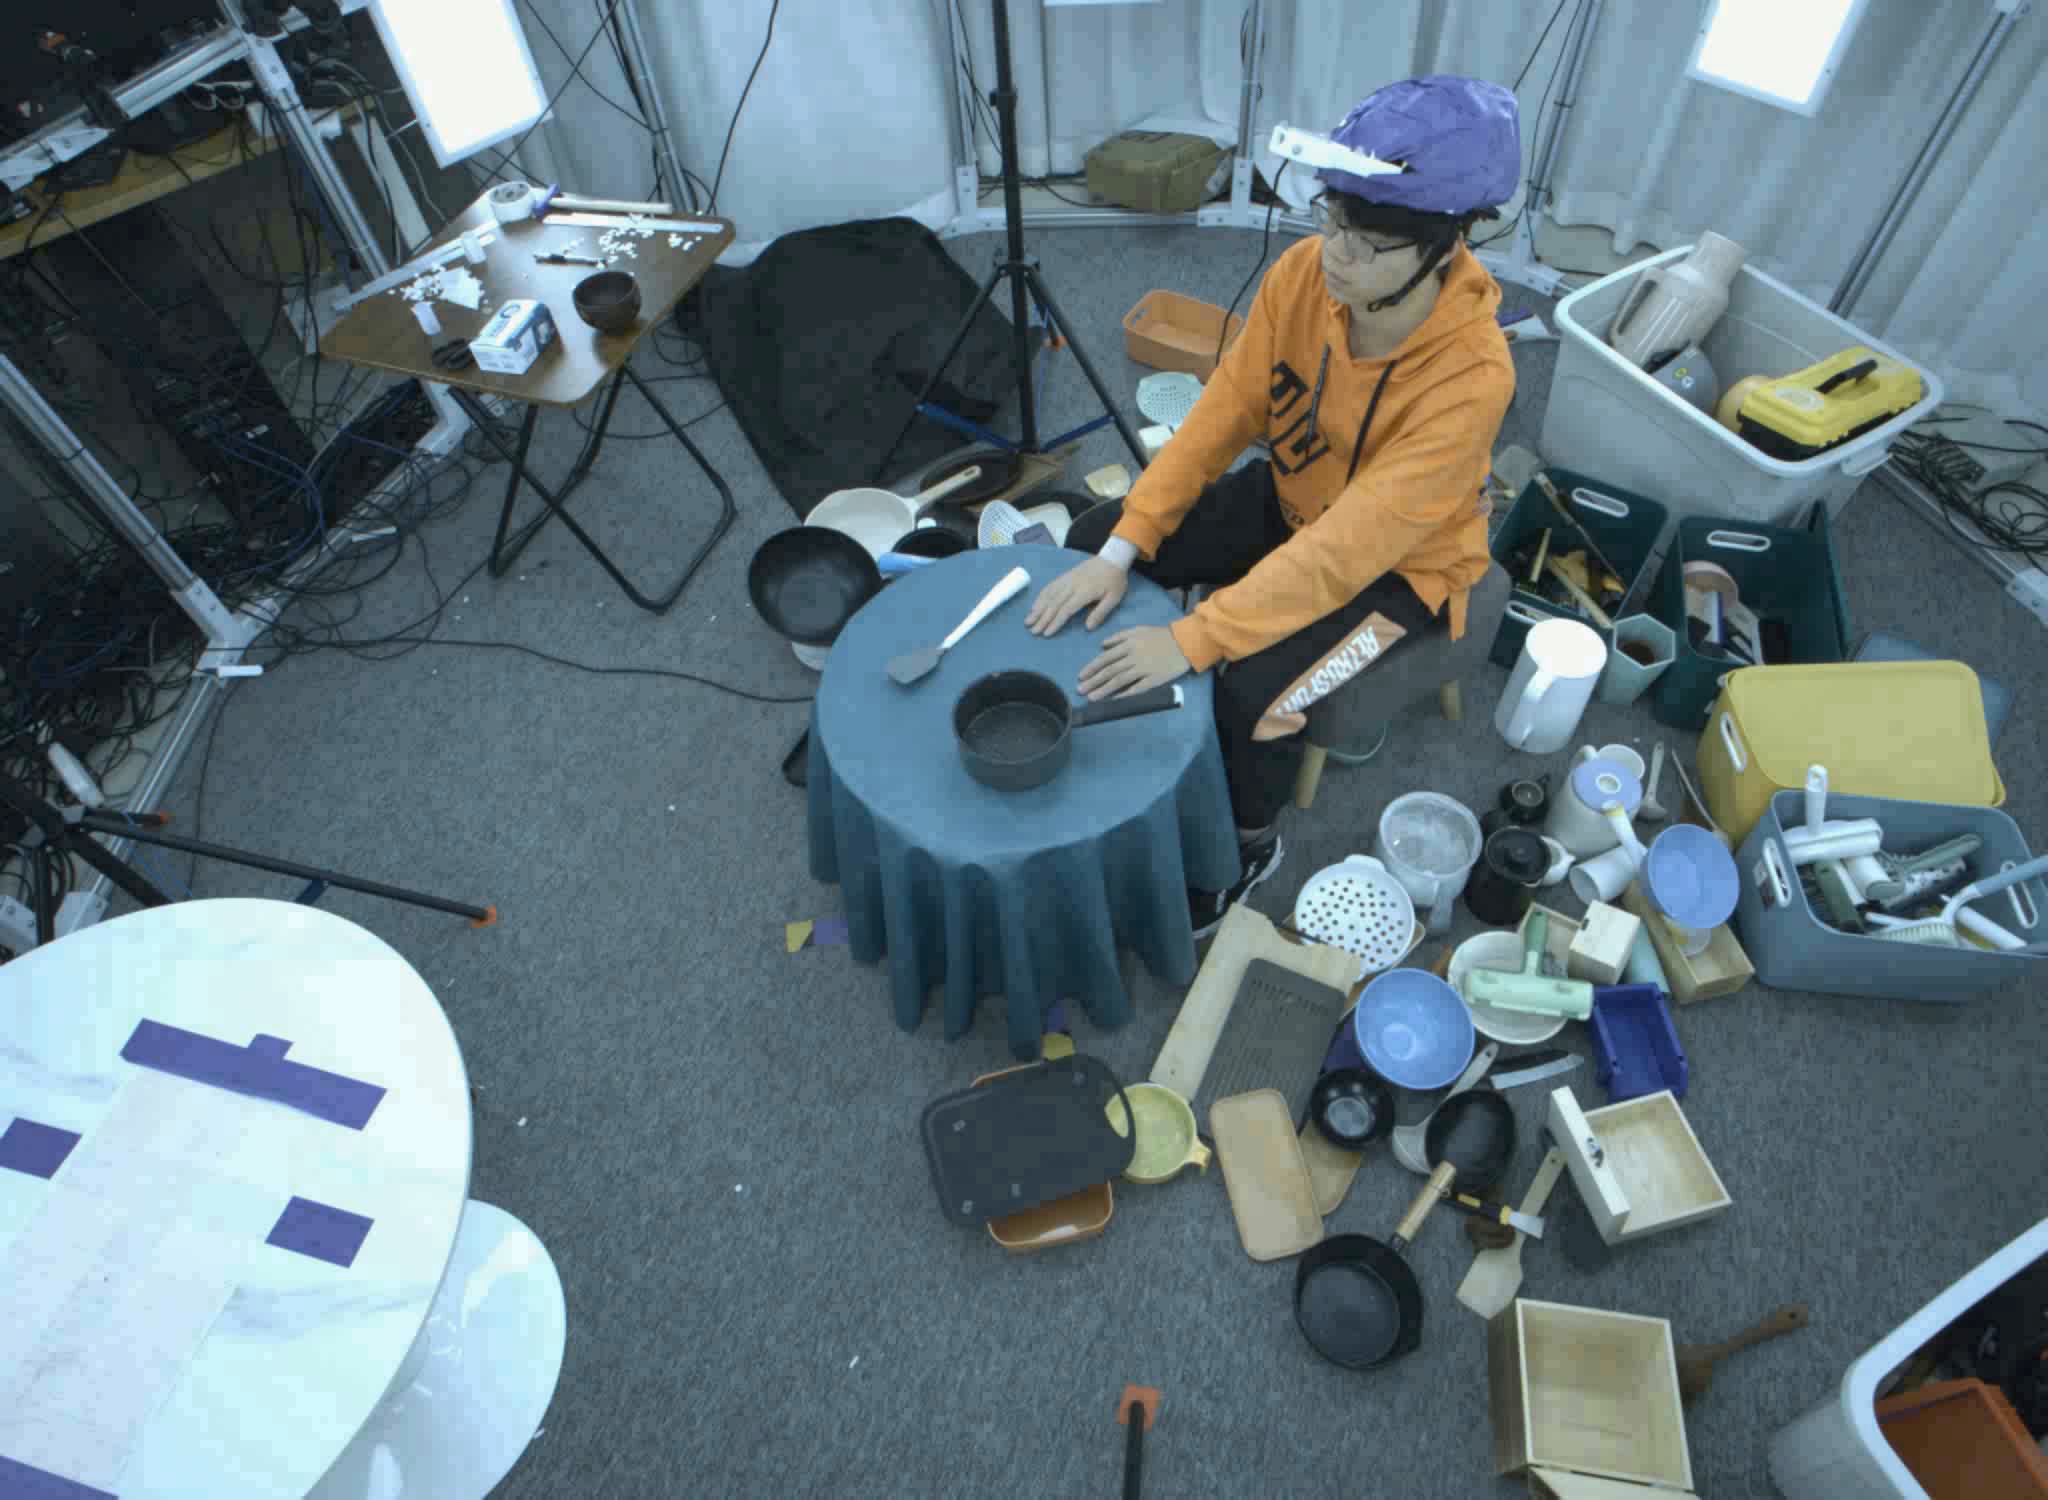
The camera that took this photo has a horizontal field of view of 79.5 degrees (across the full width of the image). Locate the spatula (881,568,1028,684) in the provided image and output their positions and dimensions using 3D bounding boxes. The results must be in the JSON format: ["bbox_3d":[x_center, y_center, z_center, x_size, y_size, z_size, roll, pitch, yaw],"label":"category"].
[{"bbox_3d":[-0.103,-0.191,1.906,0.058,0.032,0.289,38,63,21],"label":"spatula"}]

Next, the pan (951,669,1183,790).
[{"bbox_3d":[0.063,-0.037,1.758,0.329,0.087,0.170,-5,55,1],"label":"pan"}]
